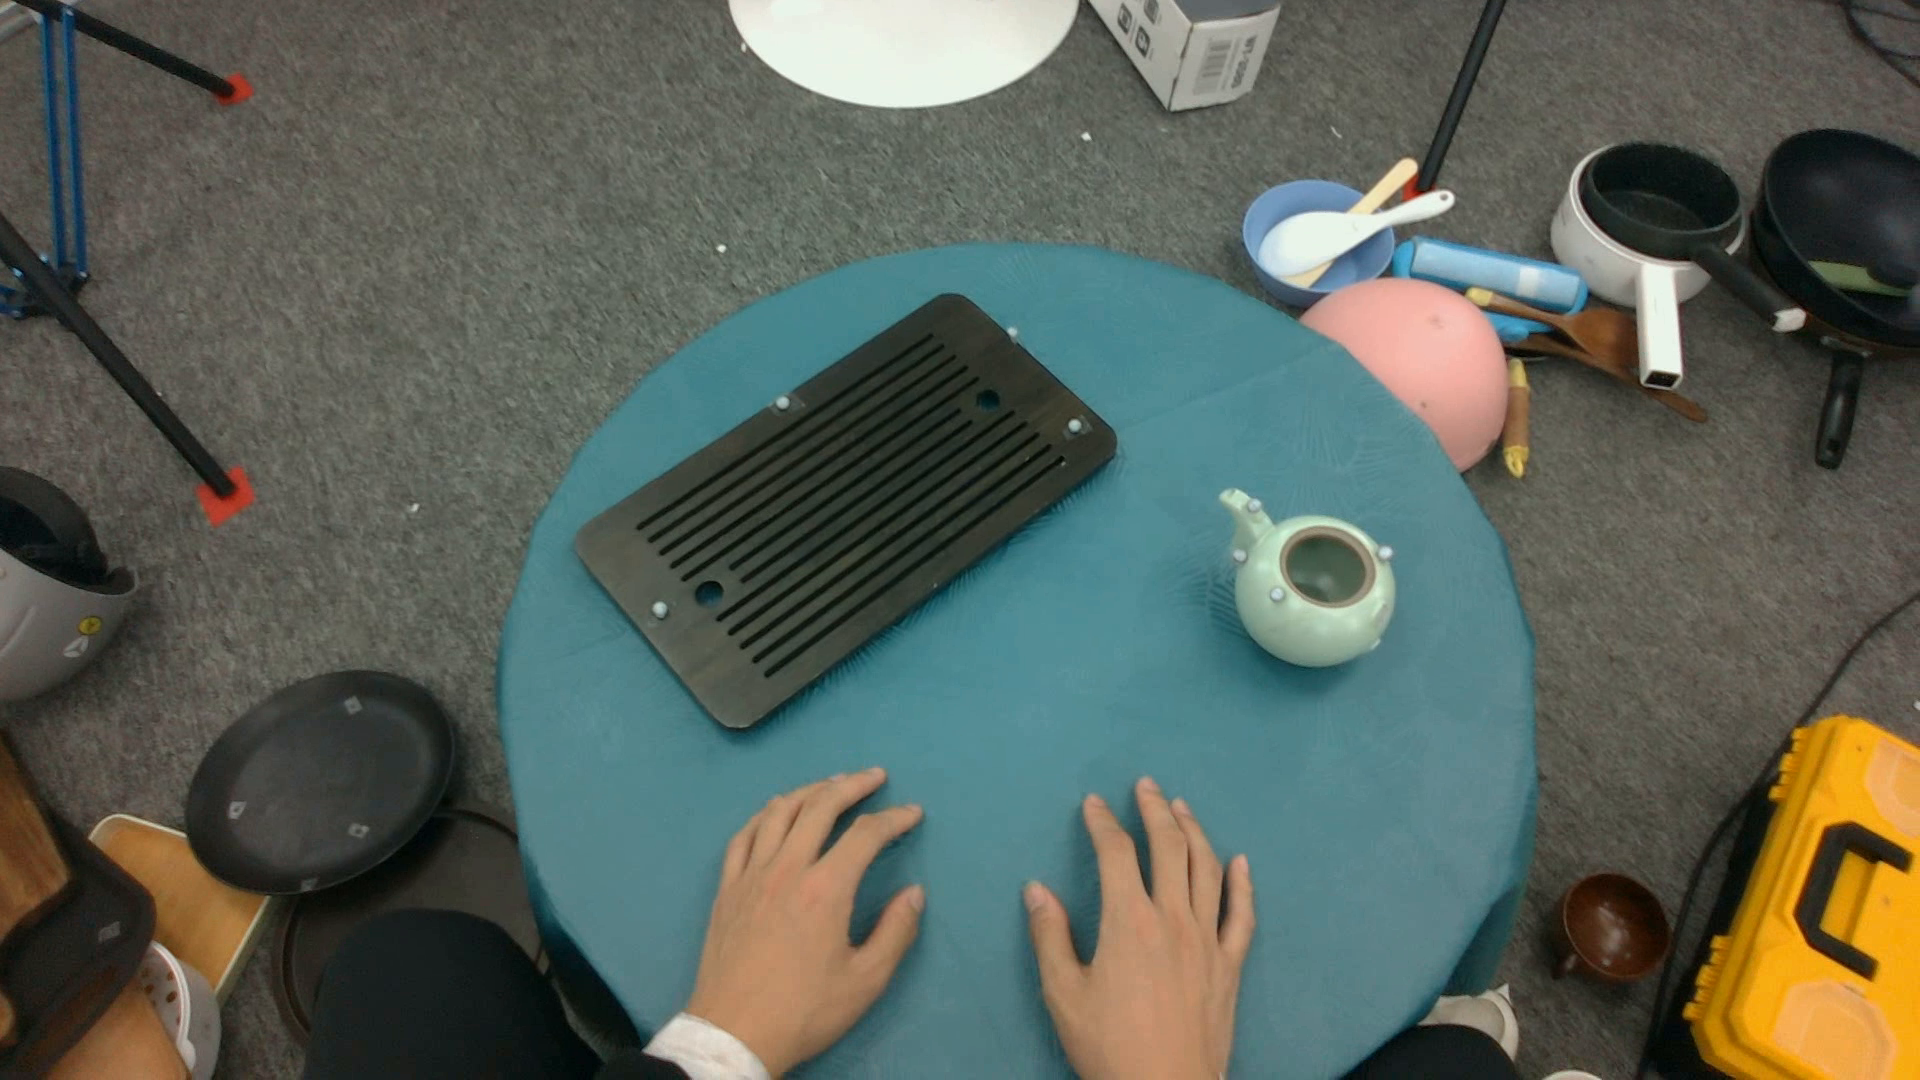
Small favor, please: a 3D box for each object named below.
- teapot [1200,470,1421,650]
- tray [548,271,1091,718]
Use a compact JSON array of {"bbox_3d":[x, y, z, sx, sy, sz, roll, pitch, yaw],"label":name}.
[{"bbox_3d":[0.192,0.018,0.785,0.144,0.074,0.088,38,66,20],"label":"teapot"},{"bbox_3d":[-0.080,-0.038,0.840,0.307,0.018,0.170,-37,68,-21],"label":"tray"}]
